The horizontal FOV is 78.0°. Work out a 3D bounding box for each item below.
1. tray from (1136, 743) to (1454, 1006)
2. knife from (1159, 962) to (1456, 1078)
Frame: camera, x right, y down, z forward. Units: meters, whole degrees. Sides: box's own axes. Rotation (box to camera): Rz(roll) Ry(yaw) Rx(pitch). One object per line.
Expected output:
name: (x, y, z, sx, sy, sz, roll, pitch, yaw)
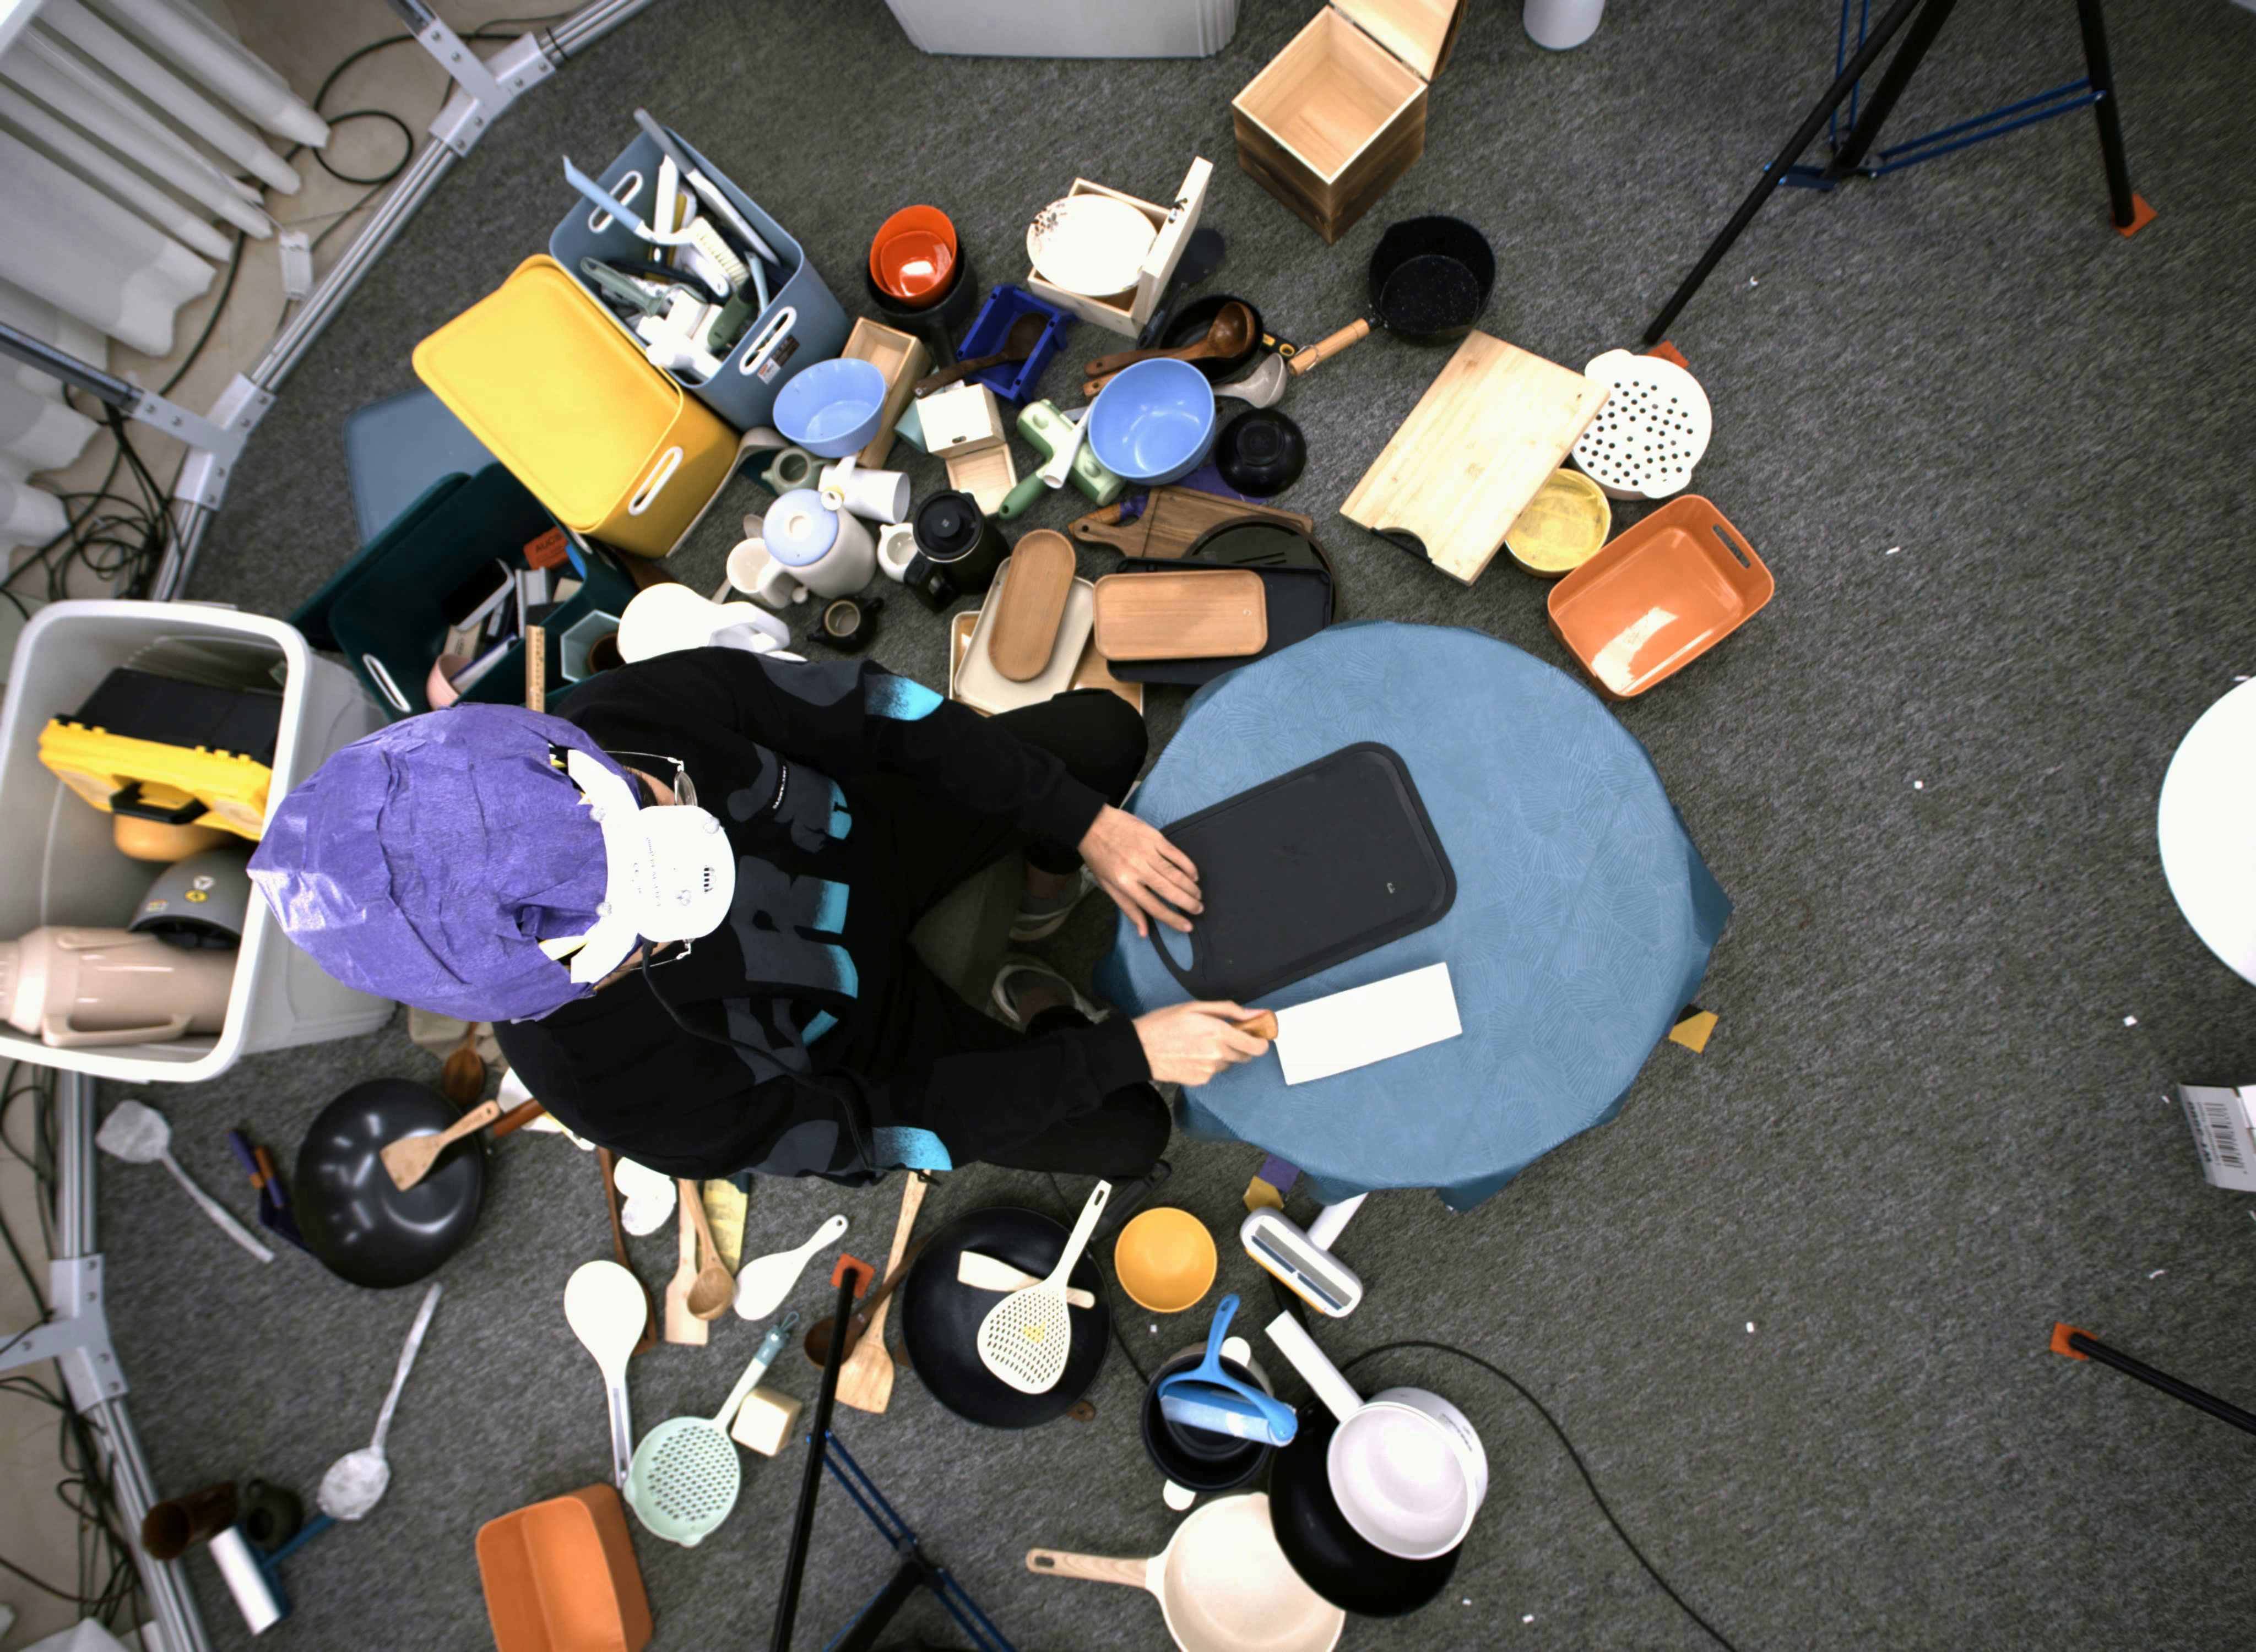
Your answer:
tray: (0.170, 0.055, 1.476, 0.327, 0.010, 0.210, -23, 83, 8)
knife: (0.188, 0.214, 1.430, 0.307, 0.020, 0.094, -16, 117, 5)
